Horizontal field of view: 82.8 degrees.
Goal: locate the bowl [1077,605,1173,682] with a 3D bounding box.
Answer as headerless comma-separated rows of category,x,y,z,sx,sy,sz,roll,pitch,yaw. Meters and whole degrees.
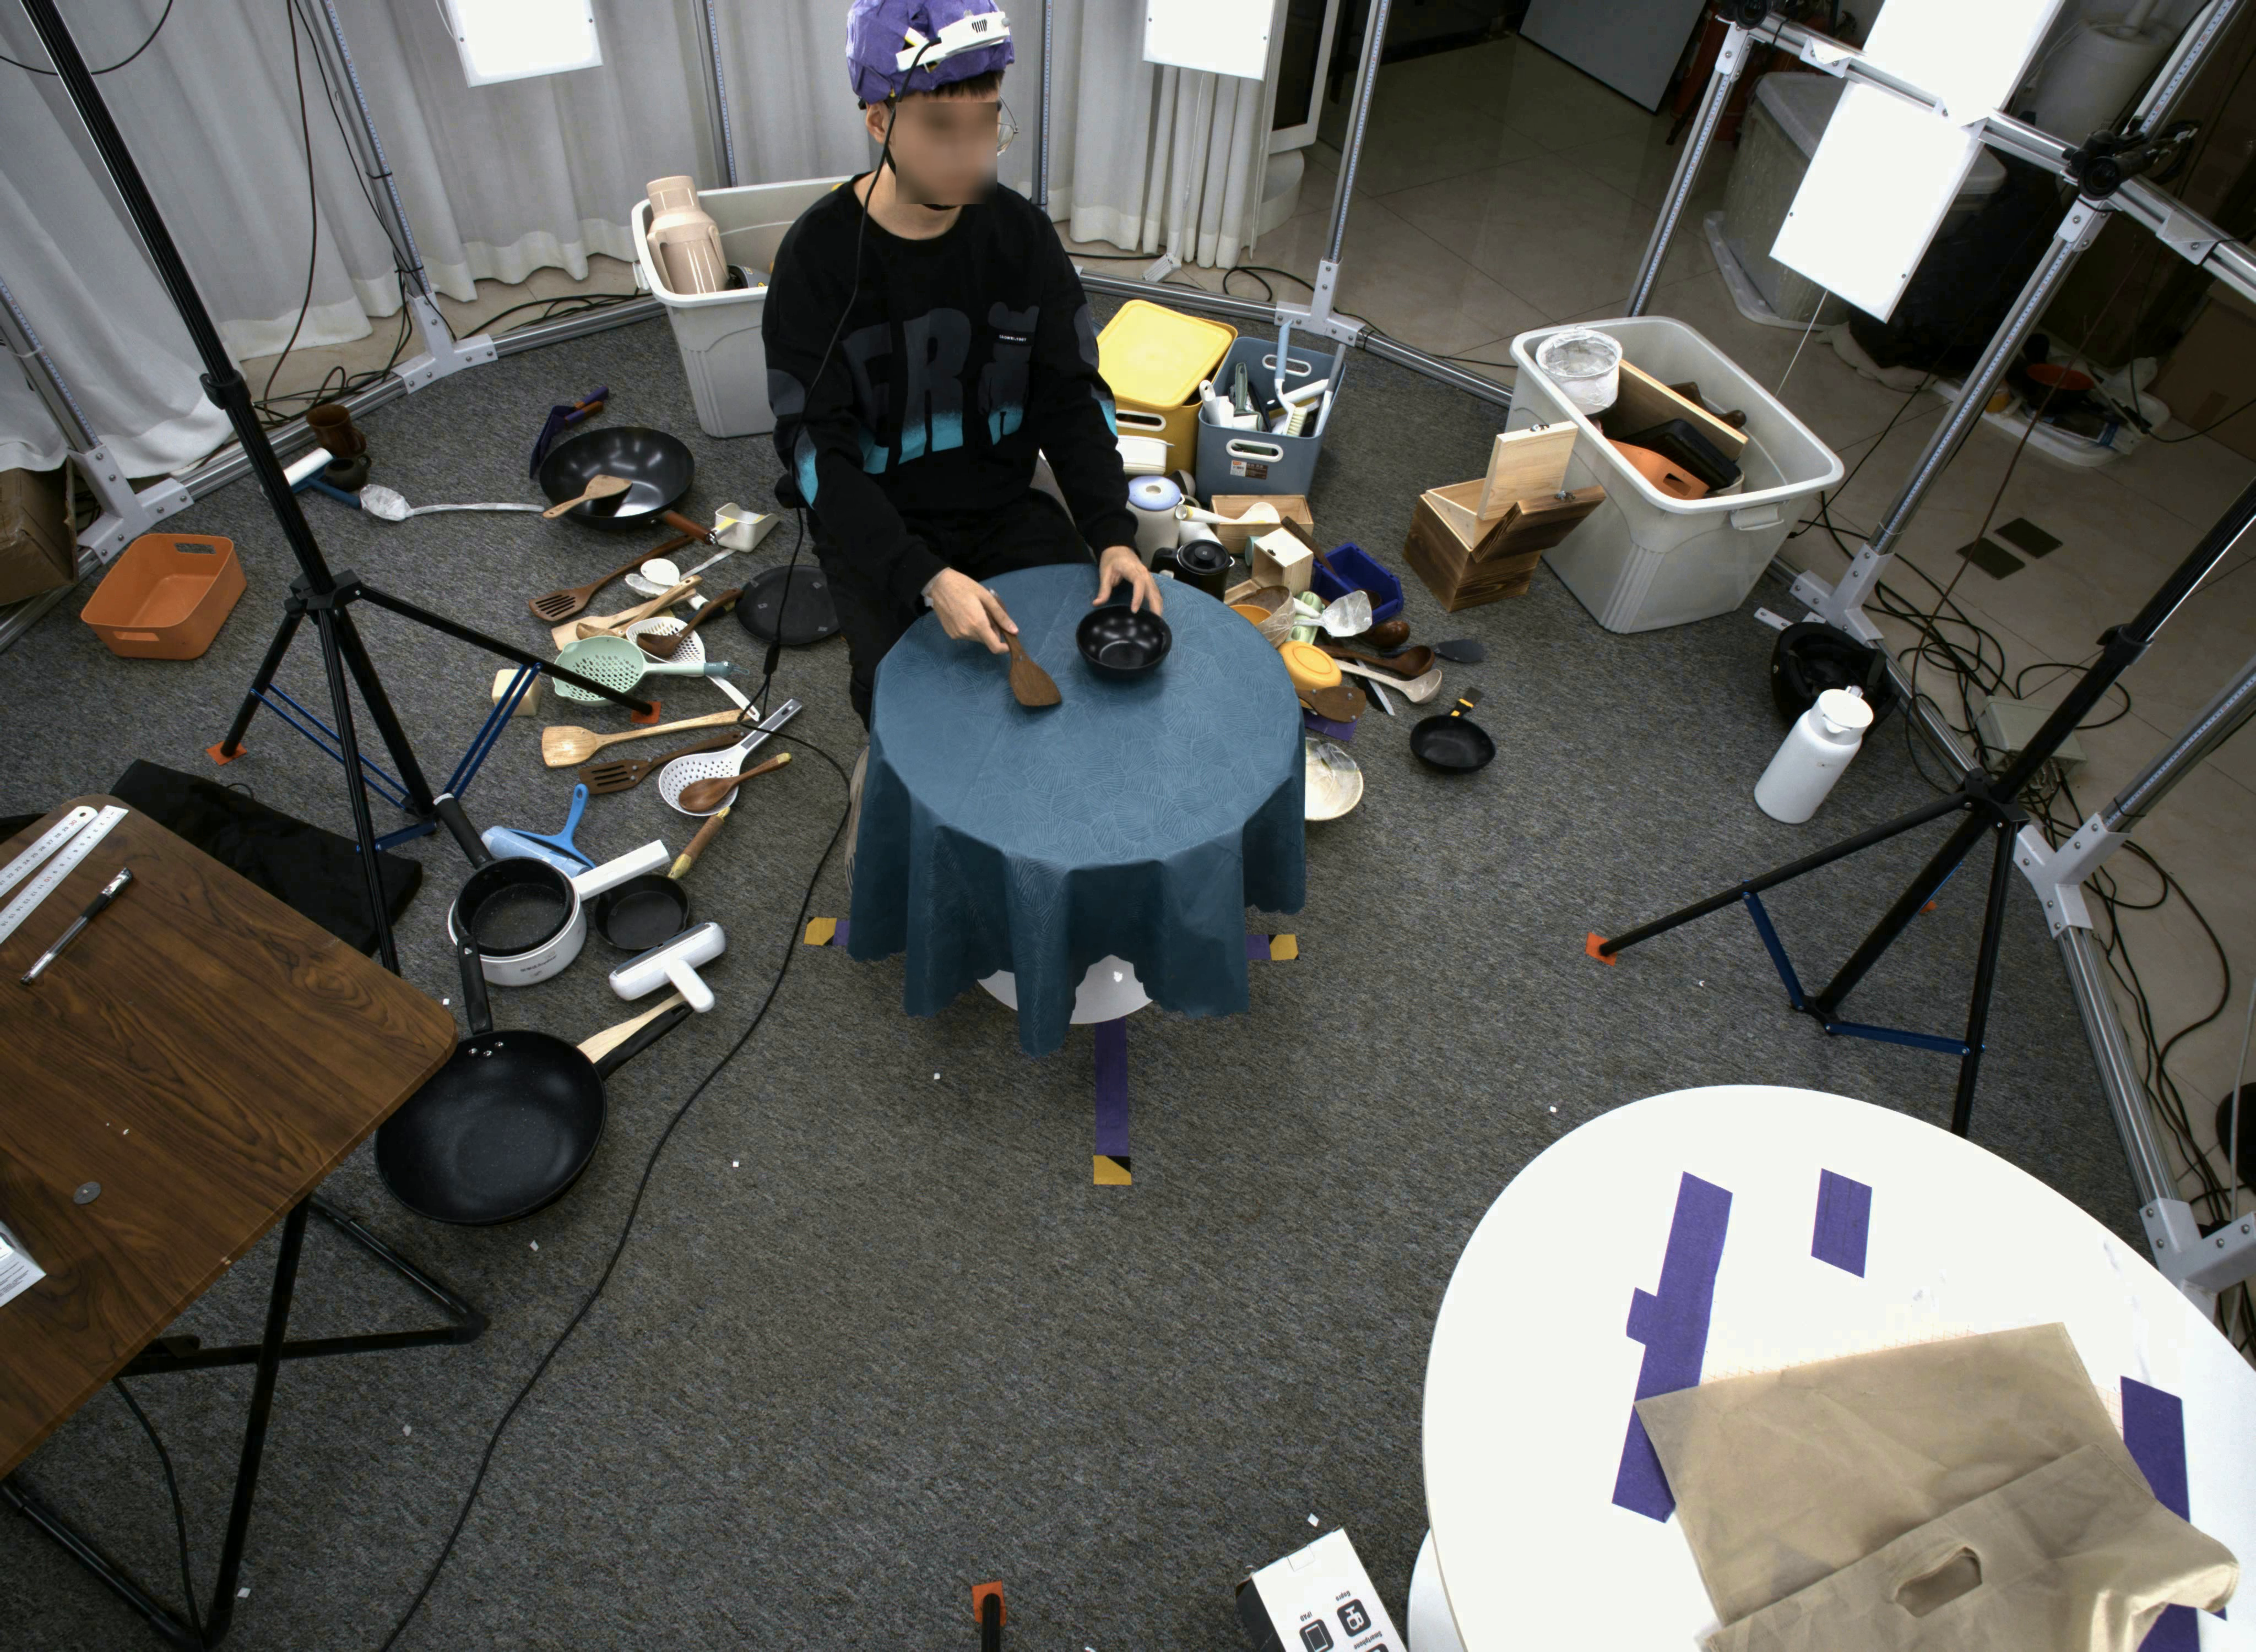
bowl,-0.004,-0.258,1.877,0.140,0.048,0.143,0,51,-1

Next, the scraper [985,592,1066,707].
scraper,-0.158,-0.254,1.848,0.075,0.010,0.215,-7,60,-36
